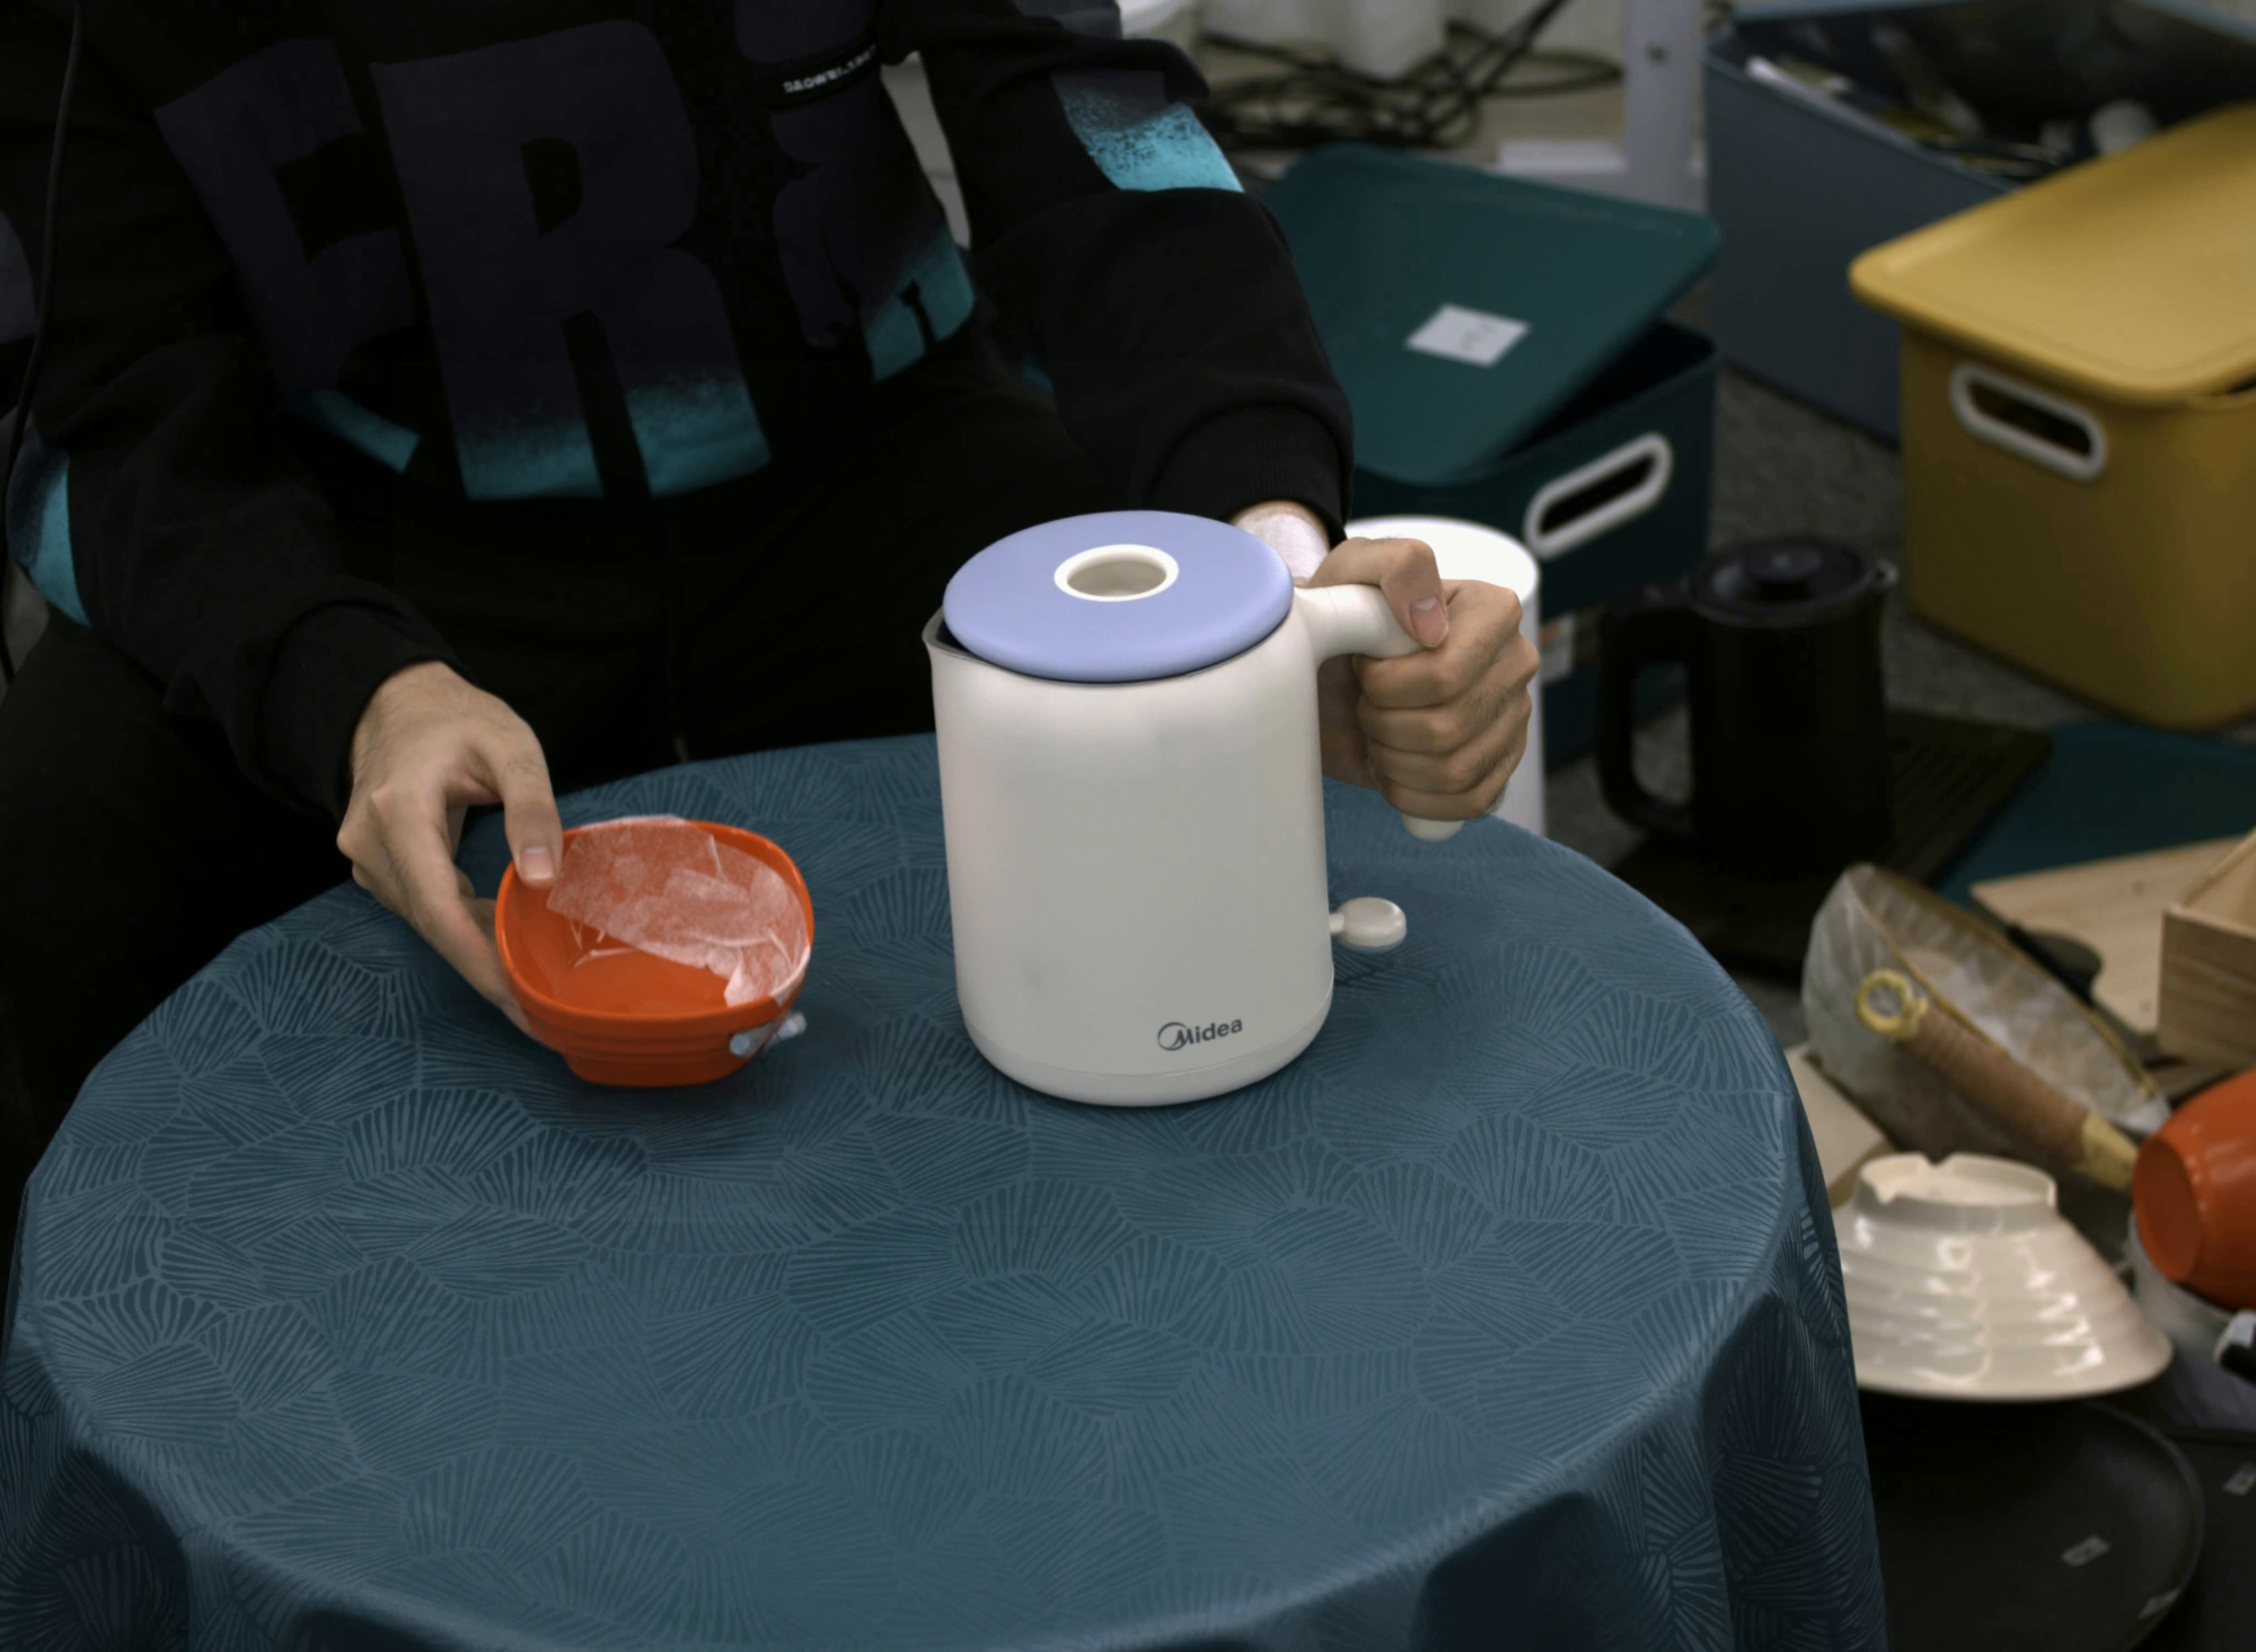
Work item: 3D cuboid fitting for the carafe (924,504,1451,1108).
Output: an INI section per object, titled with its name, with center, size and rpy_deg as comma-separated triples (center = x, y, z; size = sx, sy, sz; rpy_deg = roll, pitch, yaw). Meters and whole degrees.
[carafe]
center = 0.023, -0.012, 1.929
size = 0.191, 0.180, 0.133
rpy_deg = -10, 30, -17

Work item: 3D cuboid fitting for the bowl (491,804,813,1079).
[bowl]
center = -0.164, 0.046, 1.941
size = 0.118, 0.050, 0.121
rpy_deg = 2, 40, -1
